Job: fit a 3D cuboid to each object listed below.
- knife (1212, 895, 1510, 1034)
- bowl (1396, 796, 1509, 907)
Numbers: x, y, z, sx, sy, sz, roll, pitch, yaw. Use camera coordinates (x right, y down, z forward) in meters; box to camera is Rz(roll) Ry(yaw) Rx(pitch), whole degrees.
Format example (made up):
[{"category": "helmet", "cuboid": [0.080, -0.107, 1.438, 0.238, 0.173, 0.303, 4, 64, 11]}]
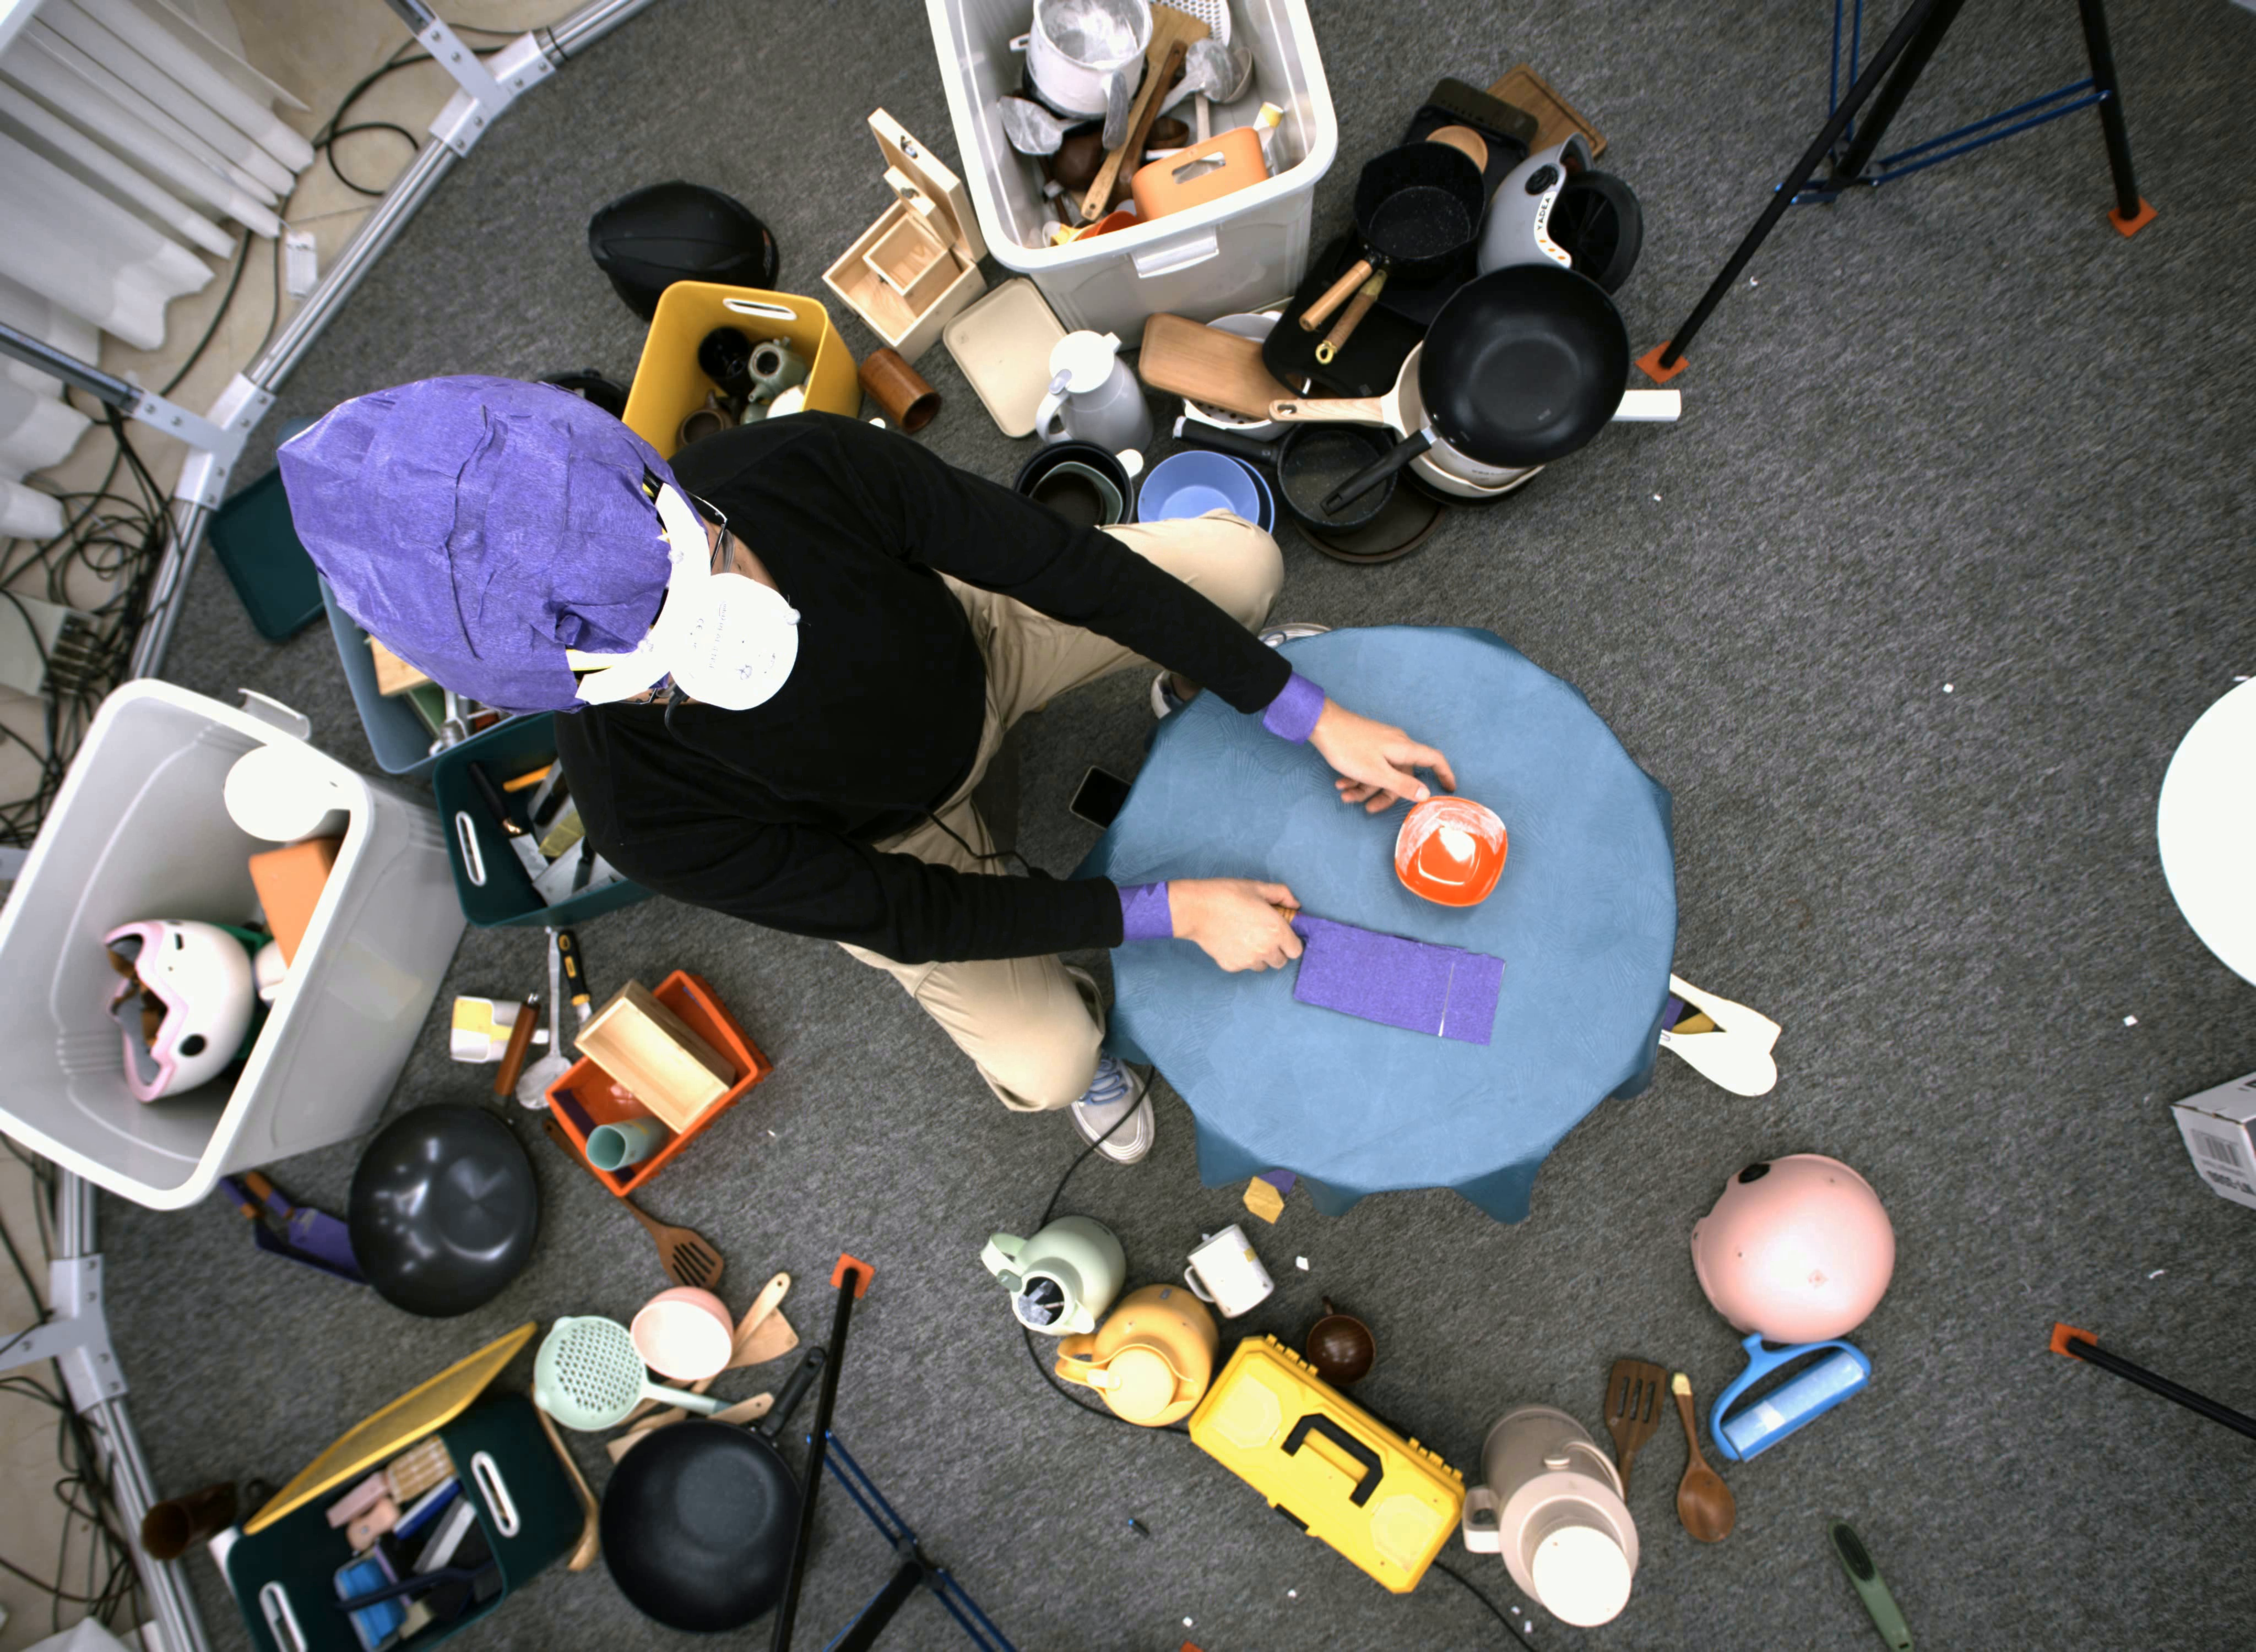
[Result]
[{"category": "knife", "cuboid": [0.235, 0.146, 1.451, 0.316, 0.032, 0.103, 12, 89, 11]}, {"category": "bowl", "cuboid": [0.333, 0.025, 1.422, 0.119, 0.051, 0.118, 0, 89, 8]}]
